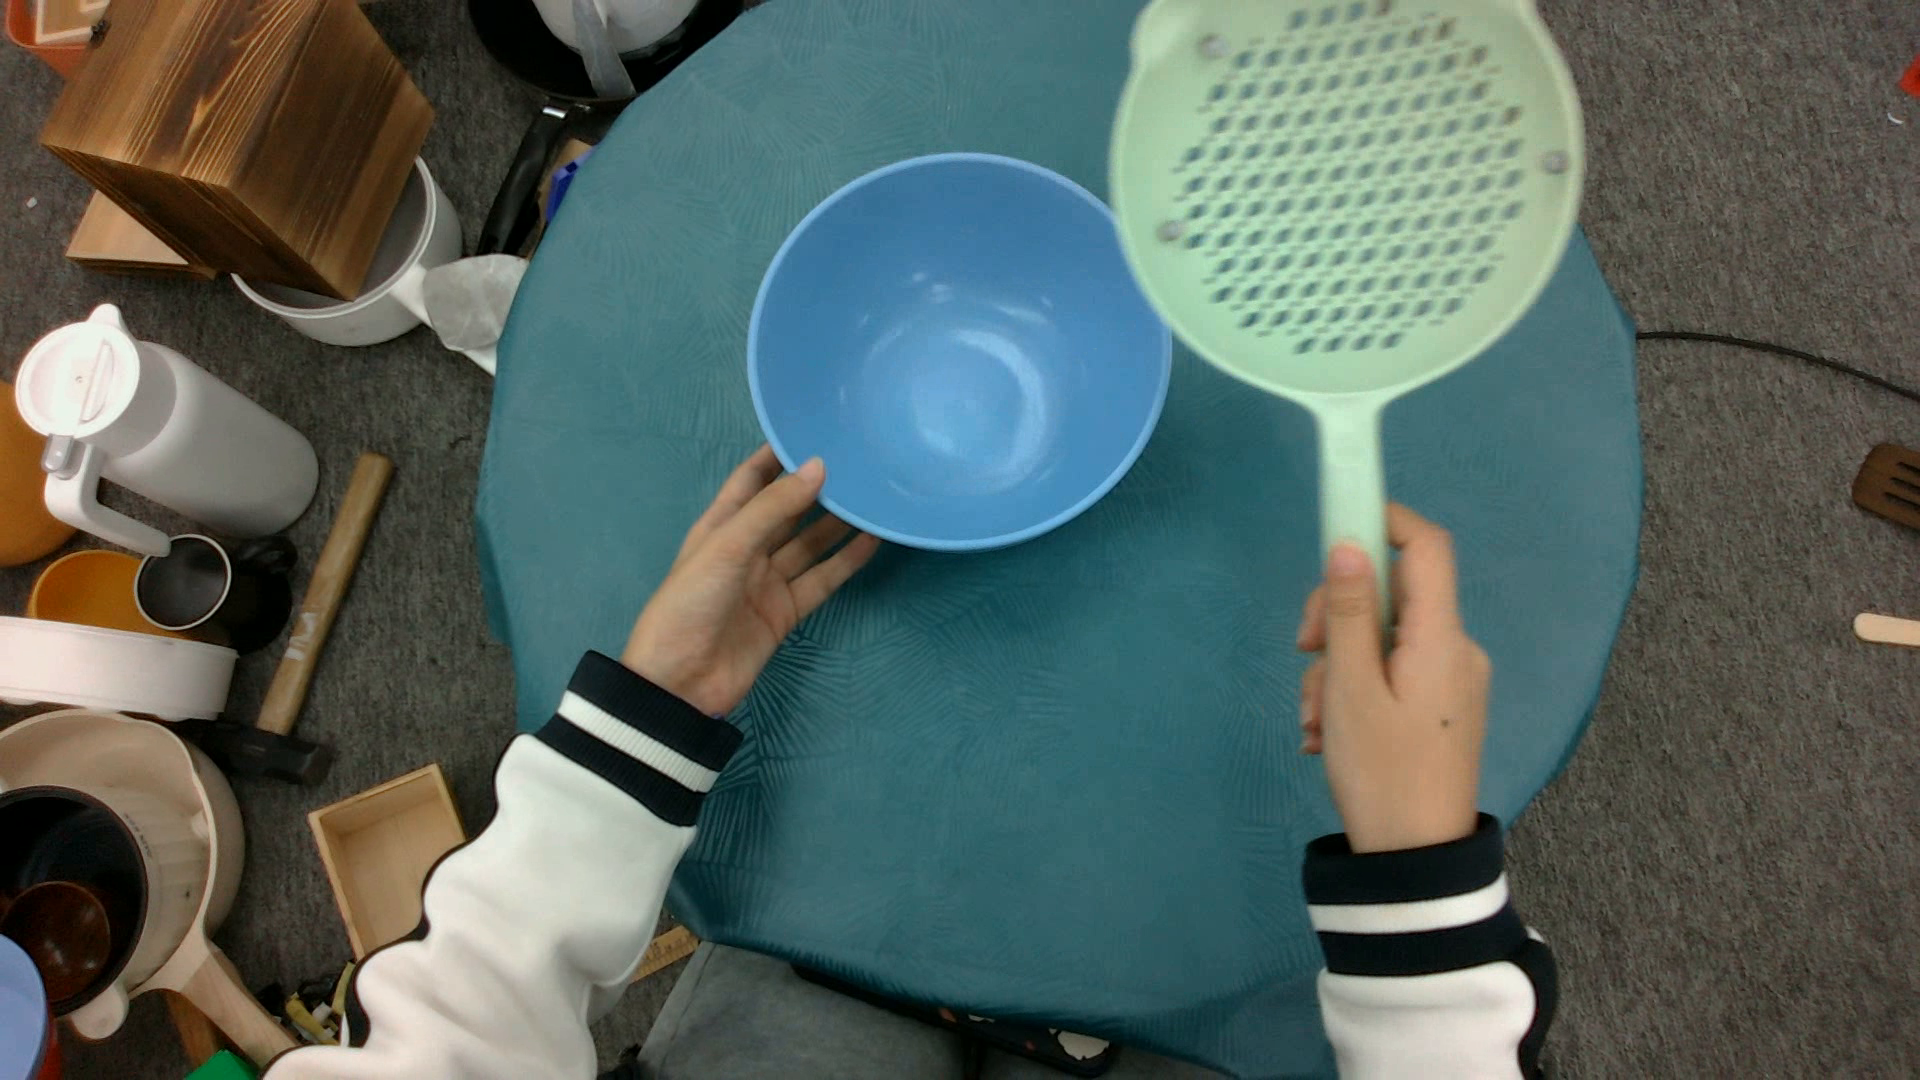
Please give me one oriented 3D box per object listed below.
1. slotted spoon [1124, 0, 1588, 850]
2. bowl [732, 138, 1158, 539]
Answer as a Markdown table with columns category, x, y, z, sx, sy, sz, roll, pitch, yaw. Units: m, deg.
| category | x | y | z | sx | sy | sz | roll | pitch | yaw |
| --- | --- | --- | --- | --- | --- | --- | --- | --- | --- |
| slotted spoon | 0.152 | -0.049 | 0.539 | 0.169 | 0.075 | 0.358 | 2 | 91 | 27 |
| bowl | -0.006 | -0.086 | 0.676 | 0.196 | 0.095 | 0.197 | 0 | 75 | 1 |
